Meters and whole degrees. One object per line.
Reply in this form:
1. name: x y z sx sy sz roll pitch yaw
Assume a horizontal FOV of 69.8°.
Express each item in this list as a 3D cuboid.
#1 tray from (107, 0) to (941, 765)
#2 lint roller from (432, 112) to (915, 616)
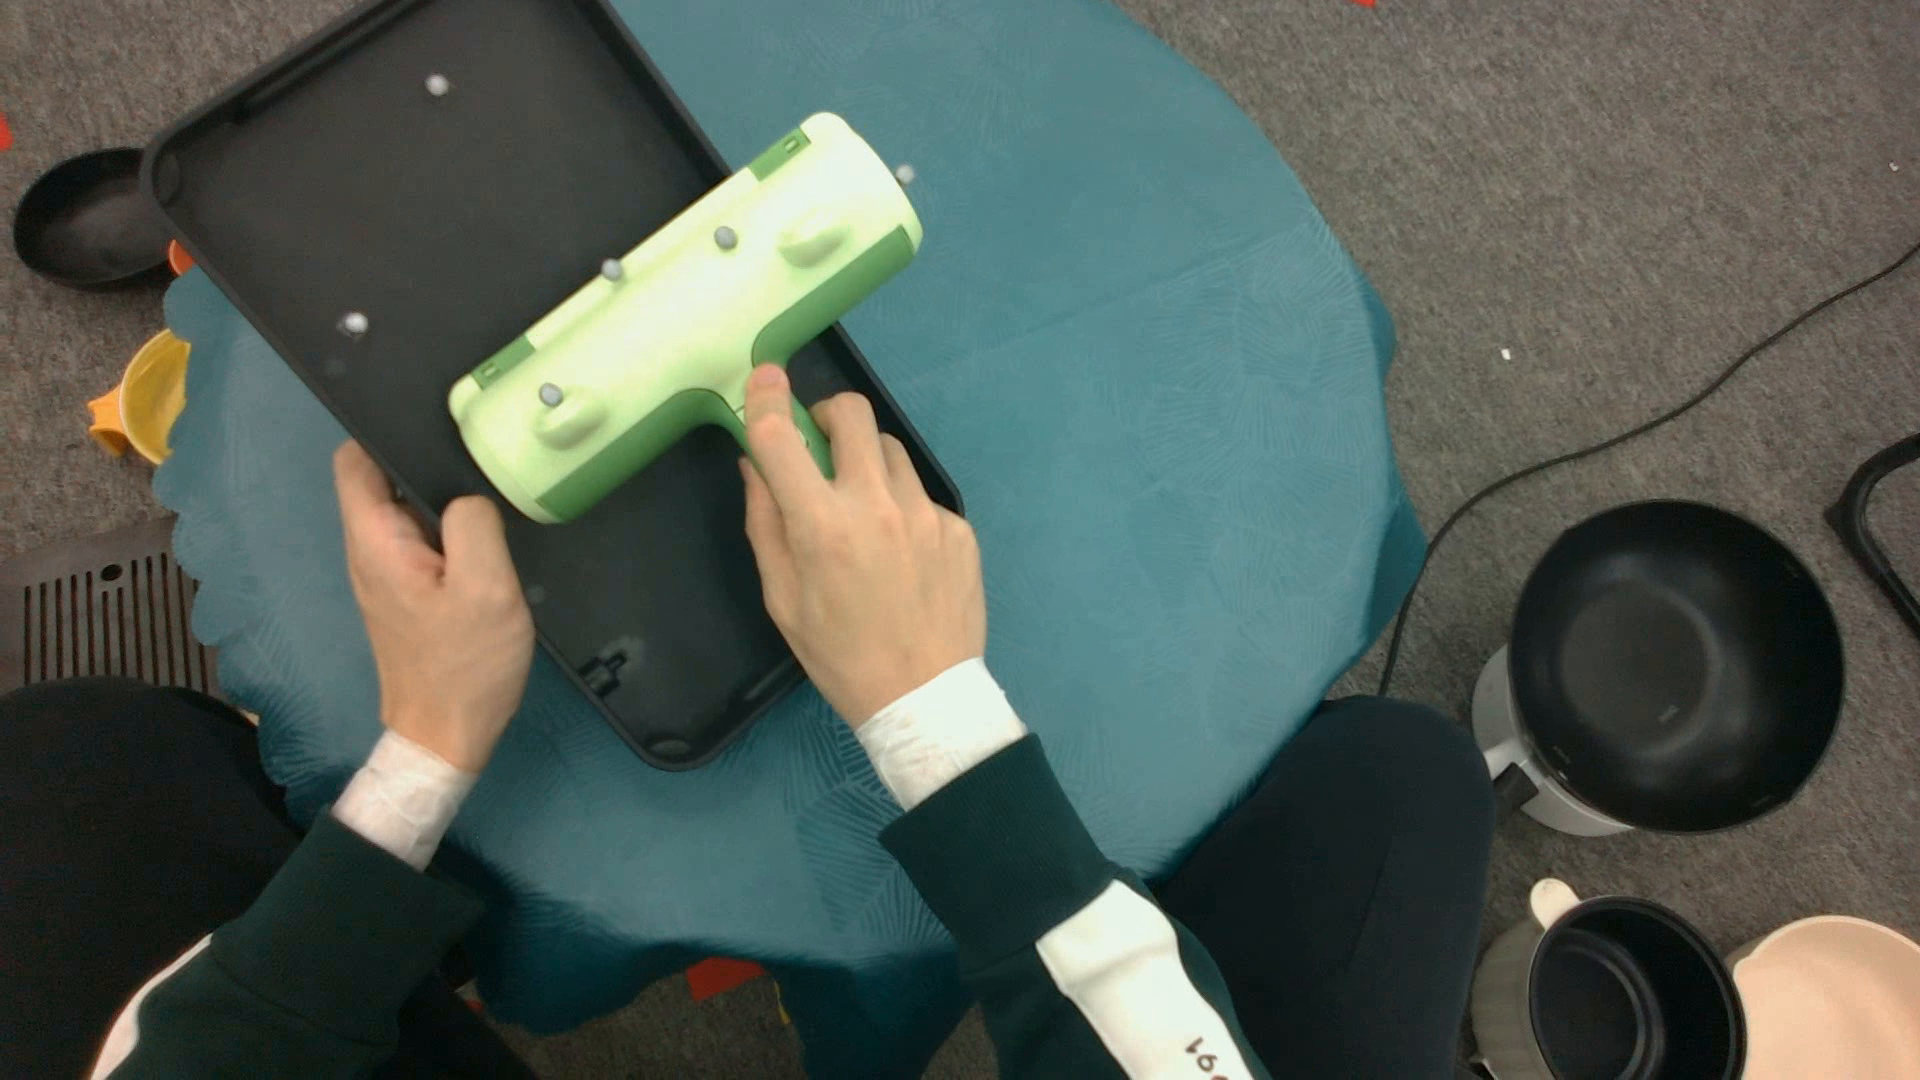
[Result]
1. tray: -0.160 -0.075 0.570 0.185 0.037 0.317 -42 111 -16
2. lint roller: -0.080 -0.044 0.544 0.198 0.082 0.183 -39 86 -3
